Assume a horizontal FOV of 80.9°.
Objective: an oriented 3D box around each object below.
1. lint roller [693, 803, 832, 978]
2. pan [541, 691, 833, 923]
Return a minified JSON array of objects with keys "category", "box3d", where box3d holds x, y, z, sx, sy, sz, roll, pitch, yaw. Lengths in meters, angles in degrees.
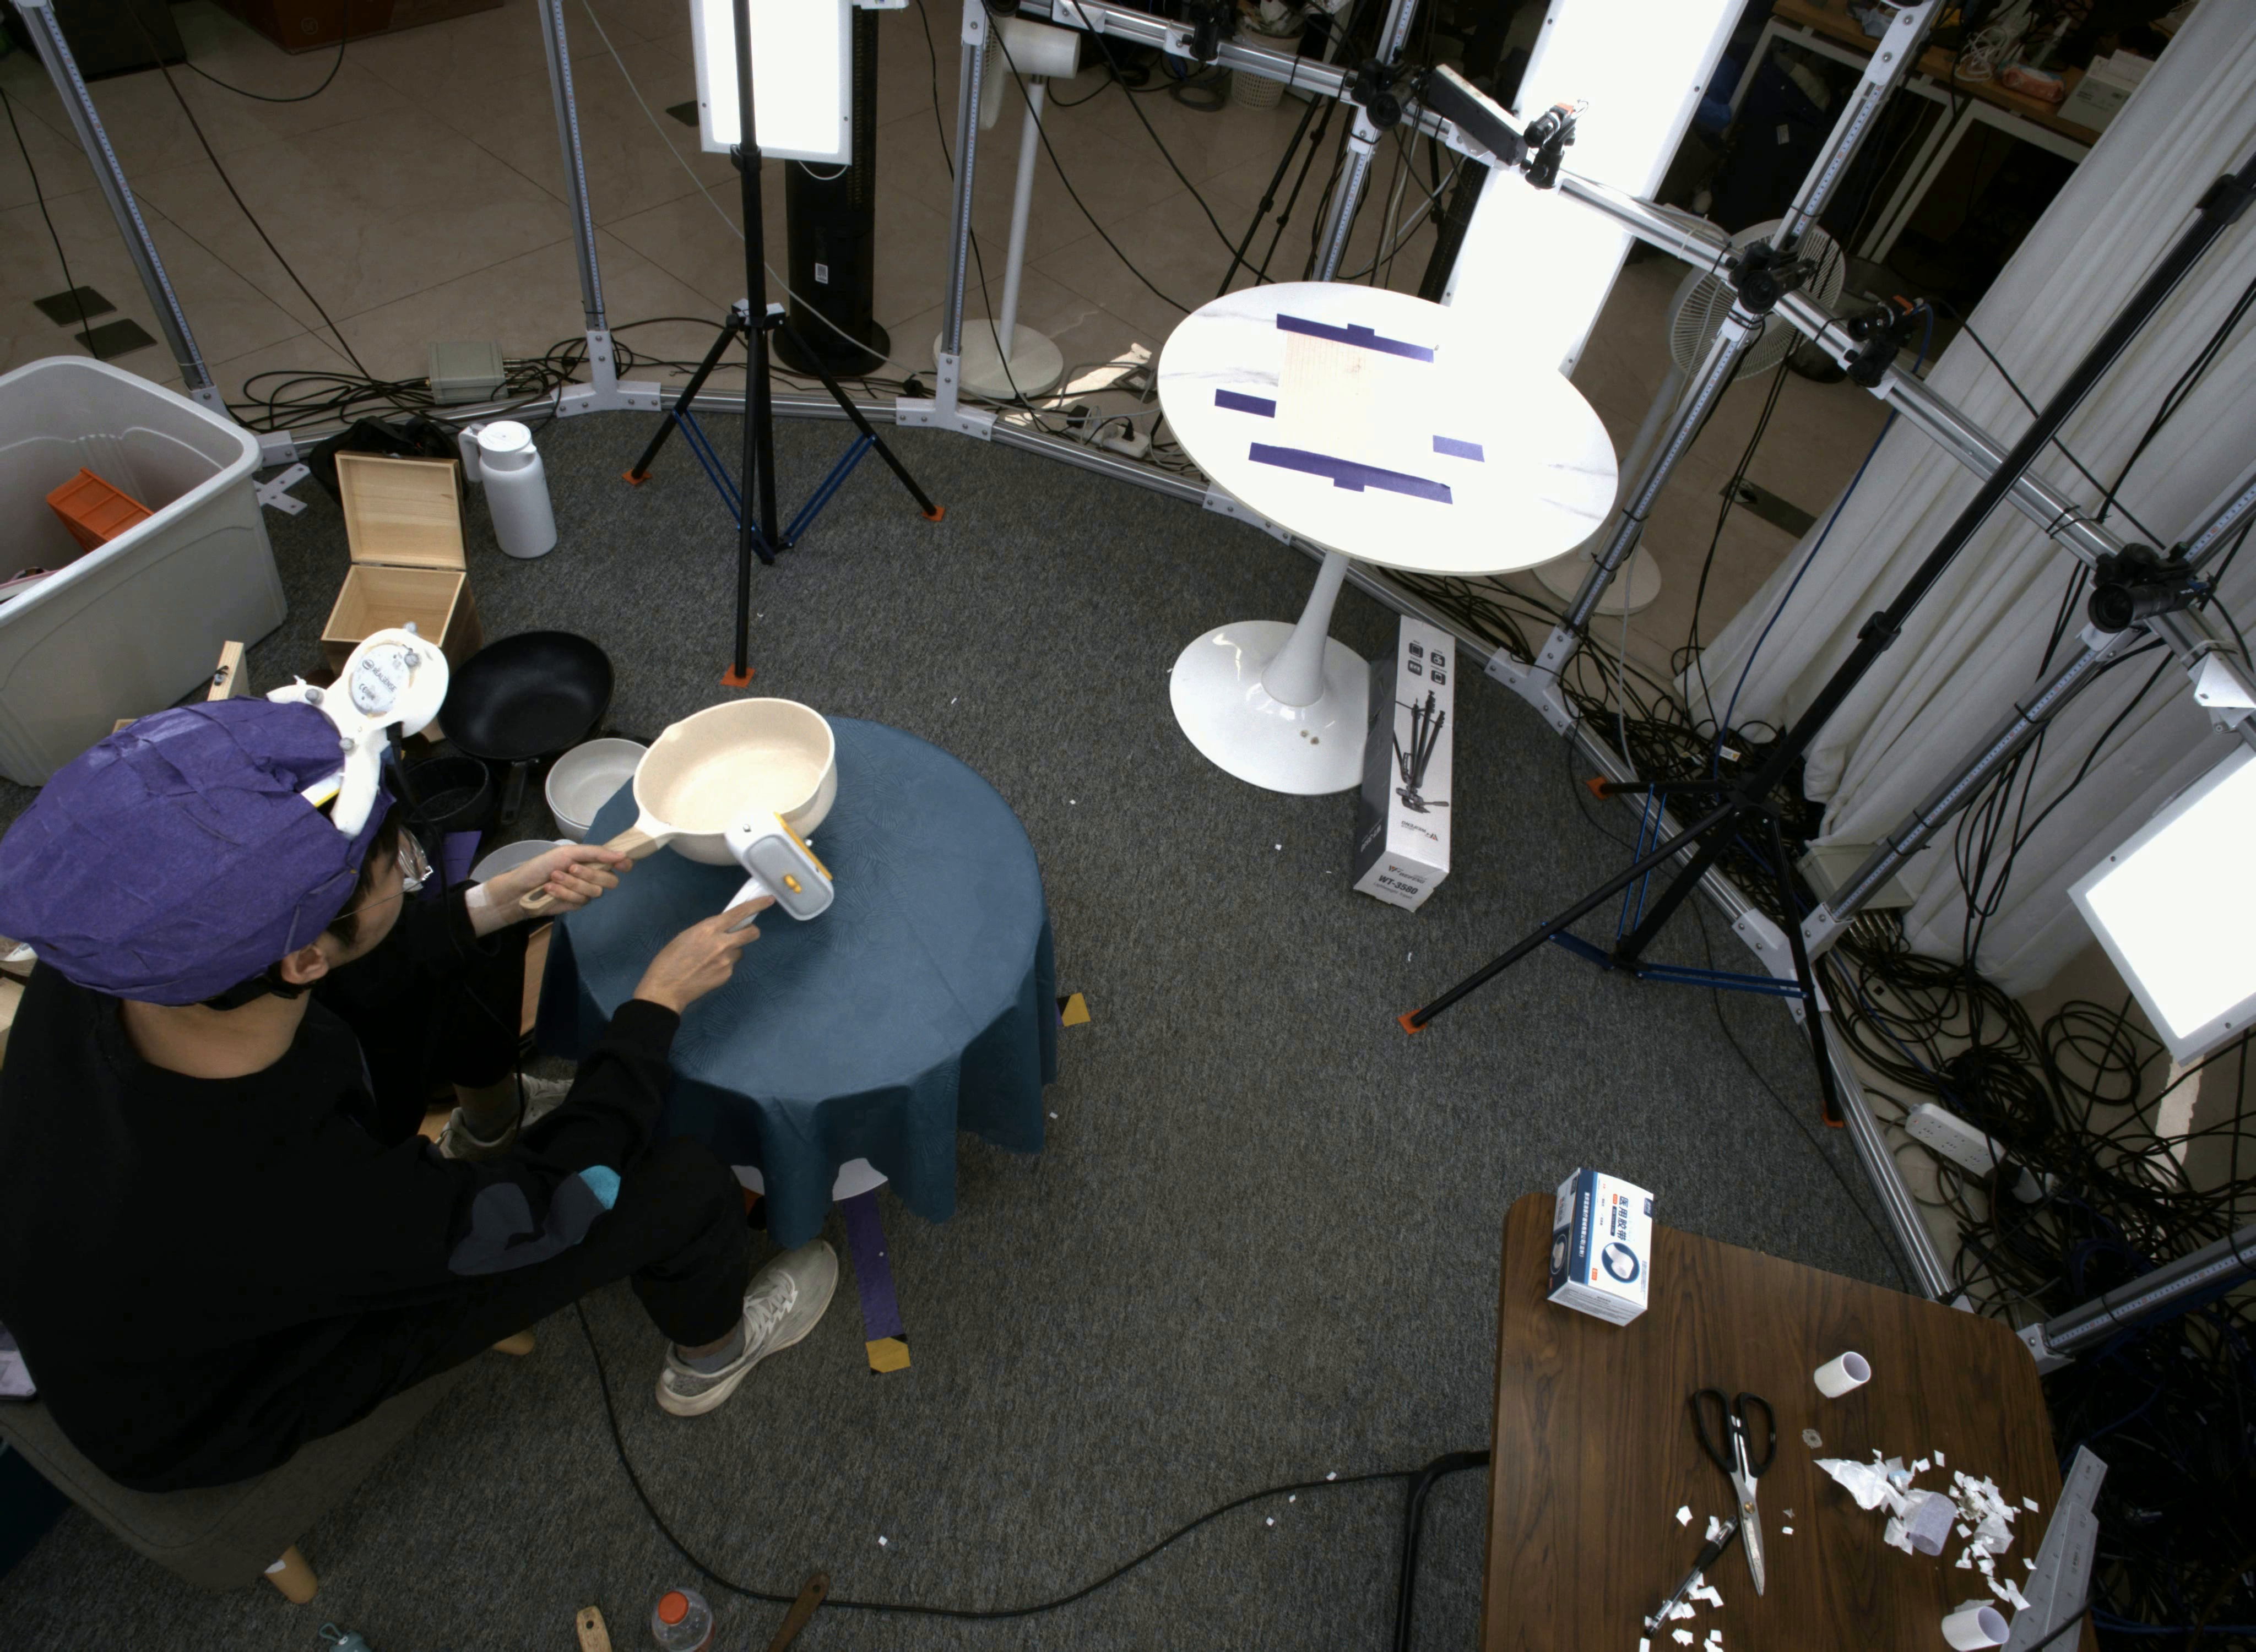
[{"category":"lint roller","box3d":[-0.451,0.088,1.526,0.072,0.199,0.192,37,78,27]},{"category":"pan","box3d":[-0.544,-0.006,1.570,0.255,0.105,0.434,26,53,24]}]
